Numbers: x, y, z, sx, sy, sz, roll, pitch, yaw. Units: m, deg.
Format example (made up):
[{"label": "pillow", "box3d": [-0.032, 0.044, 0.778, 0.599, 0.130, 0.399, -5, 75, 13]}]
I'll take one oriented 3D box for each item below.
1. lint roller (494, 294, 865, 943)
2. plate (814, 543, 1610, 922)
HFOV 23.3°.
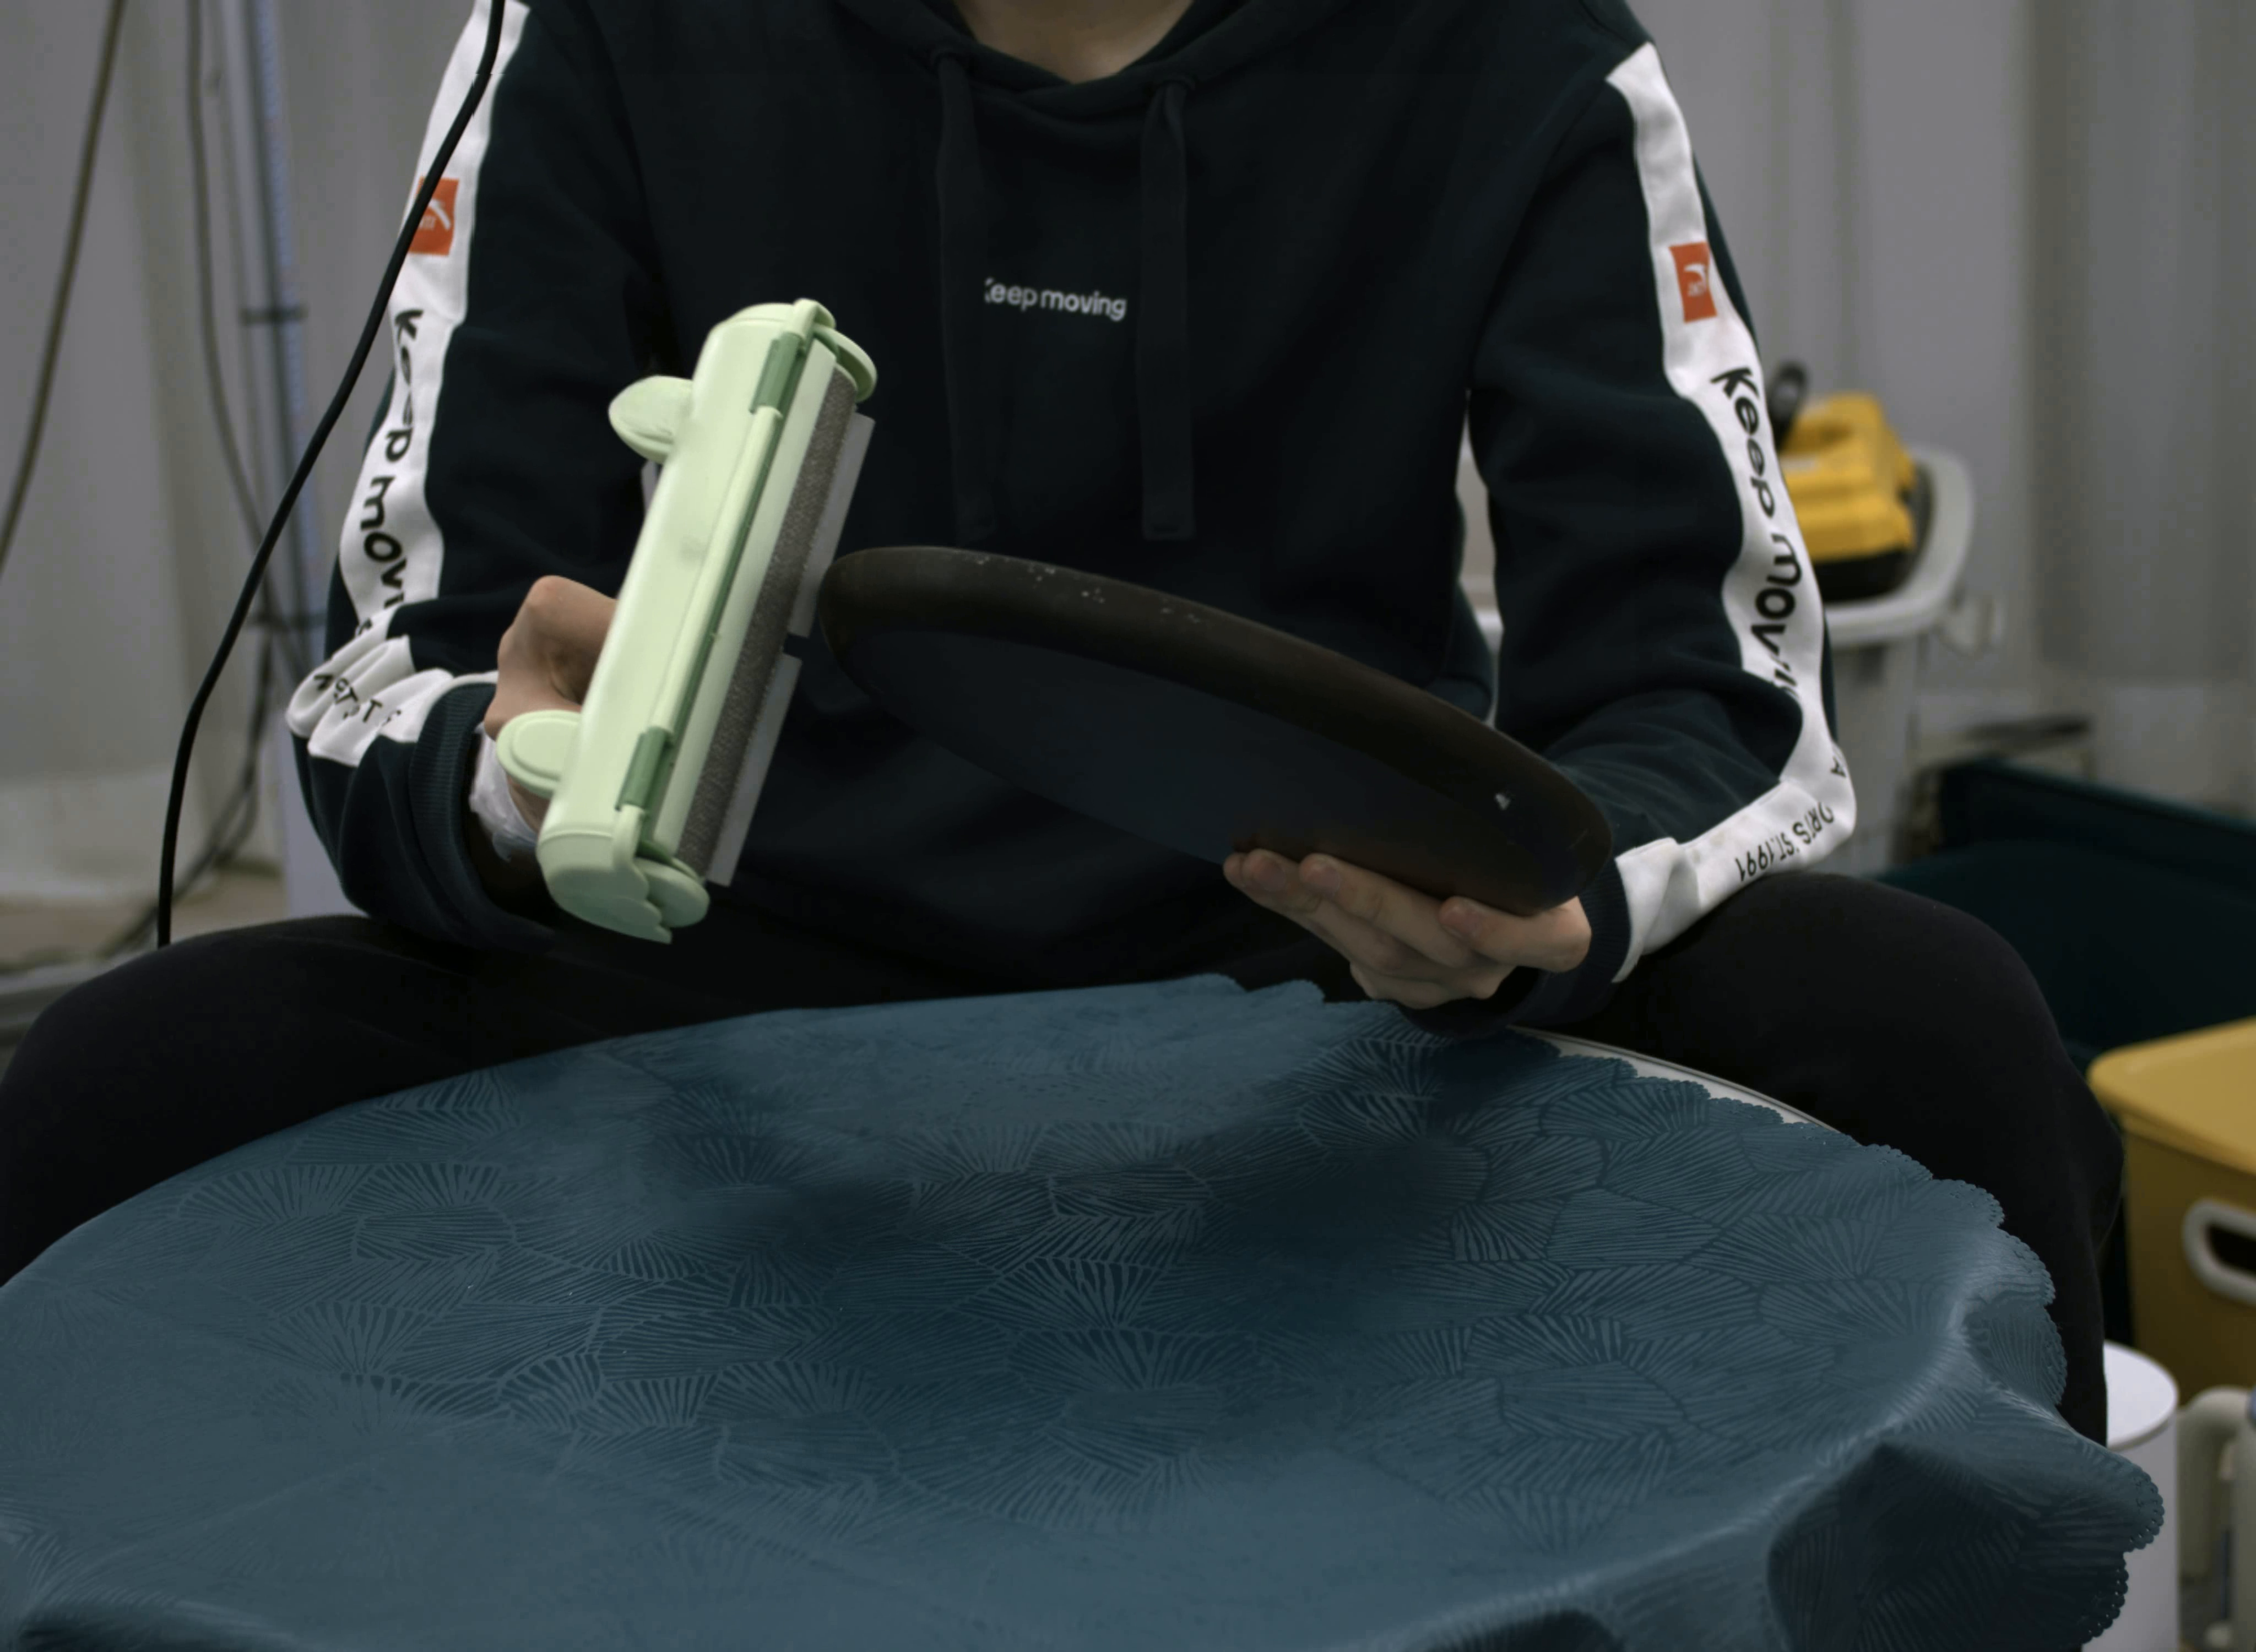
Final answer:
[{"label": "lint roller", "box3d": [-0.154, -0.051, 1.688, 0.081, 0.201, 0.182, 23, -25, -16]}, {"label": "plate", "box3d": [0.023, -0.025, 1.648, 0.254, 0.029, 0.253, 18, -11, 4]}]
